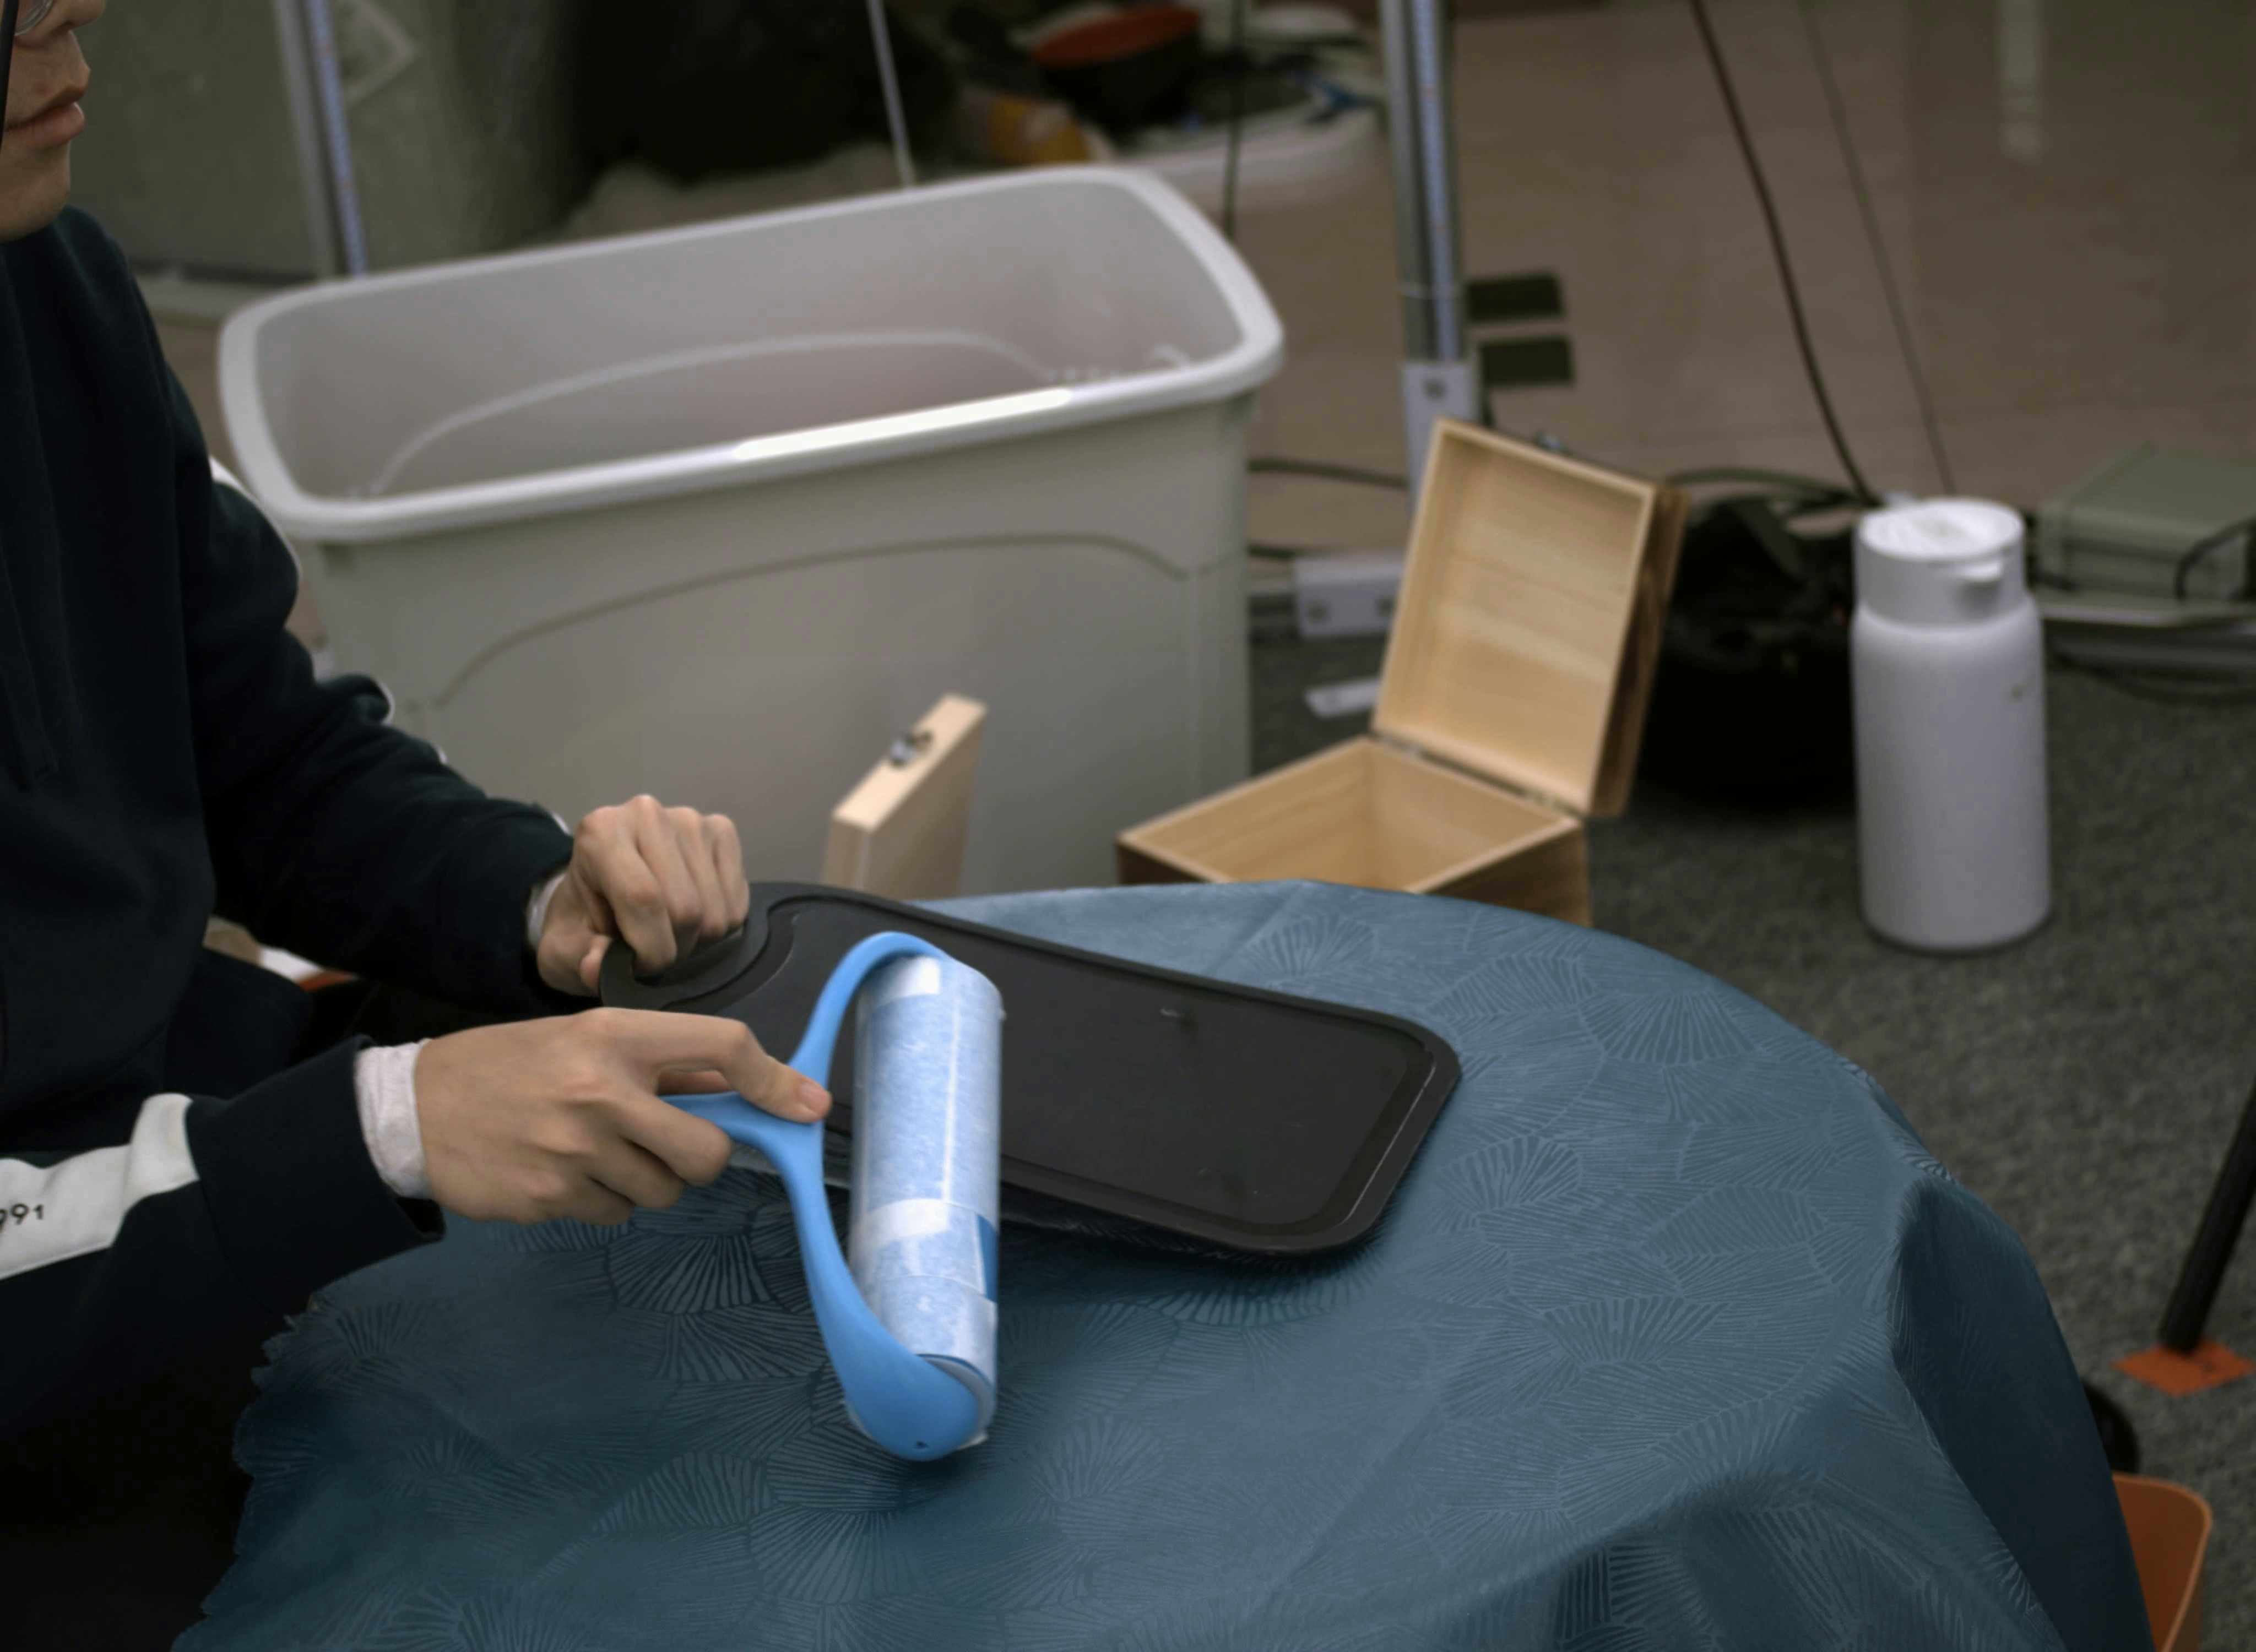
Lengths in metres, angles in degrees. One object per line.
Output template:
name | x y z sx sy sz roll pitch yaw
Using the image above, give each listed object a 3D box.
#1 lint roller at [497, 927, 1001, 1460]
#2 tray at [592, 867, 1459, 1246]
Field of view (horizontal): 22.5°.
lint roller | -0.131 0.123 2.024 0.180 0.069 0.225 8 47 -14
tray | -0.043 0.082 2.175 0.324 0.010 0.208 16 25 12
